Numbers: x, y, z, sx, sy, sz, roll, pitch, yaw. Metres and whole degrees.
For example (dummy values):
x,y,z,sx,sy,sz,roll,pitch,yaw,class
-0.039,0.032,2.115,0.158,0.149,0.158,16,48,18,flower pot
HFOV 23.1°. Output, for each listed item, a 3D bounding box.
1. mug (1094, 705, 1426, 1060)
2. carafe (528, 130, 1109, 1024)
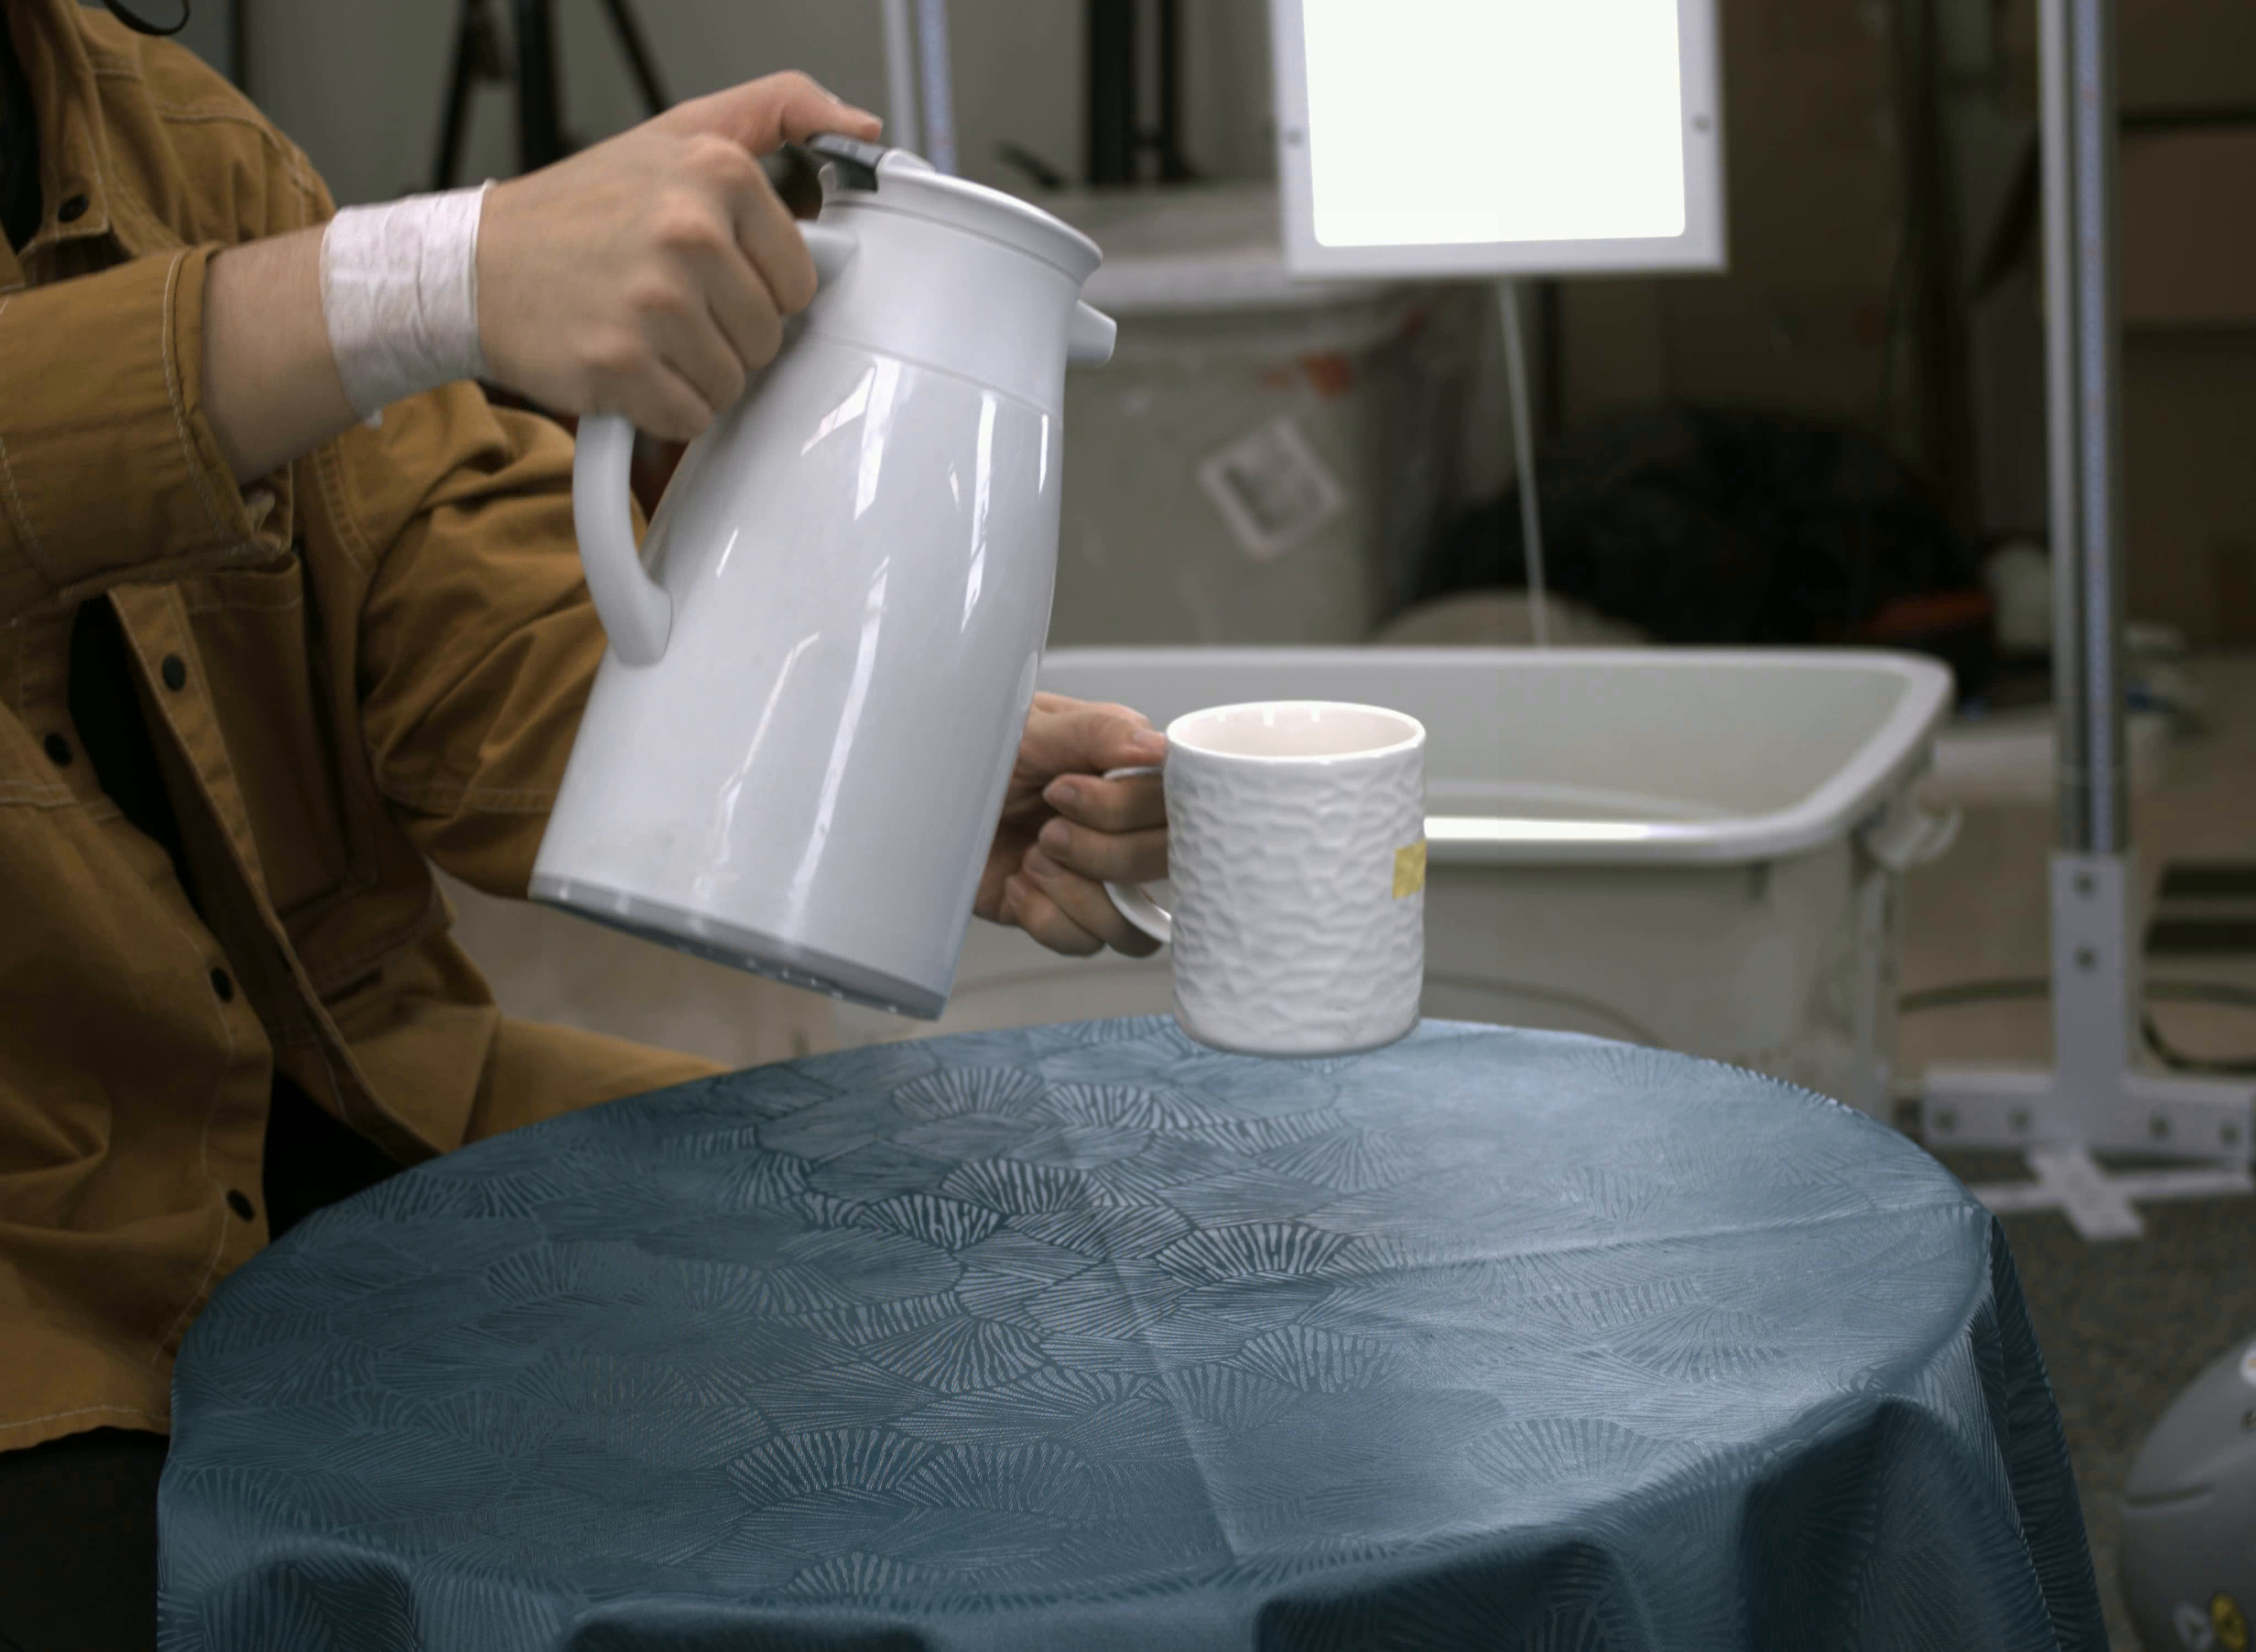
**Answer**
x,y,z,sx,sy,sz,roll,pitch,yaw,class
0.042,0.017,1.813,0.120,0.102,0.083,6,15,32,mug
-0.098,-0.081,1.668,0.164,0.249,0.135,19,-4,-36,carafe
